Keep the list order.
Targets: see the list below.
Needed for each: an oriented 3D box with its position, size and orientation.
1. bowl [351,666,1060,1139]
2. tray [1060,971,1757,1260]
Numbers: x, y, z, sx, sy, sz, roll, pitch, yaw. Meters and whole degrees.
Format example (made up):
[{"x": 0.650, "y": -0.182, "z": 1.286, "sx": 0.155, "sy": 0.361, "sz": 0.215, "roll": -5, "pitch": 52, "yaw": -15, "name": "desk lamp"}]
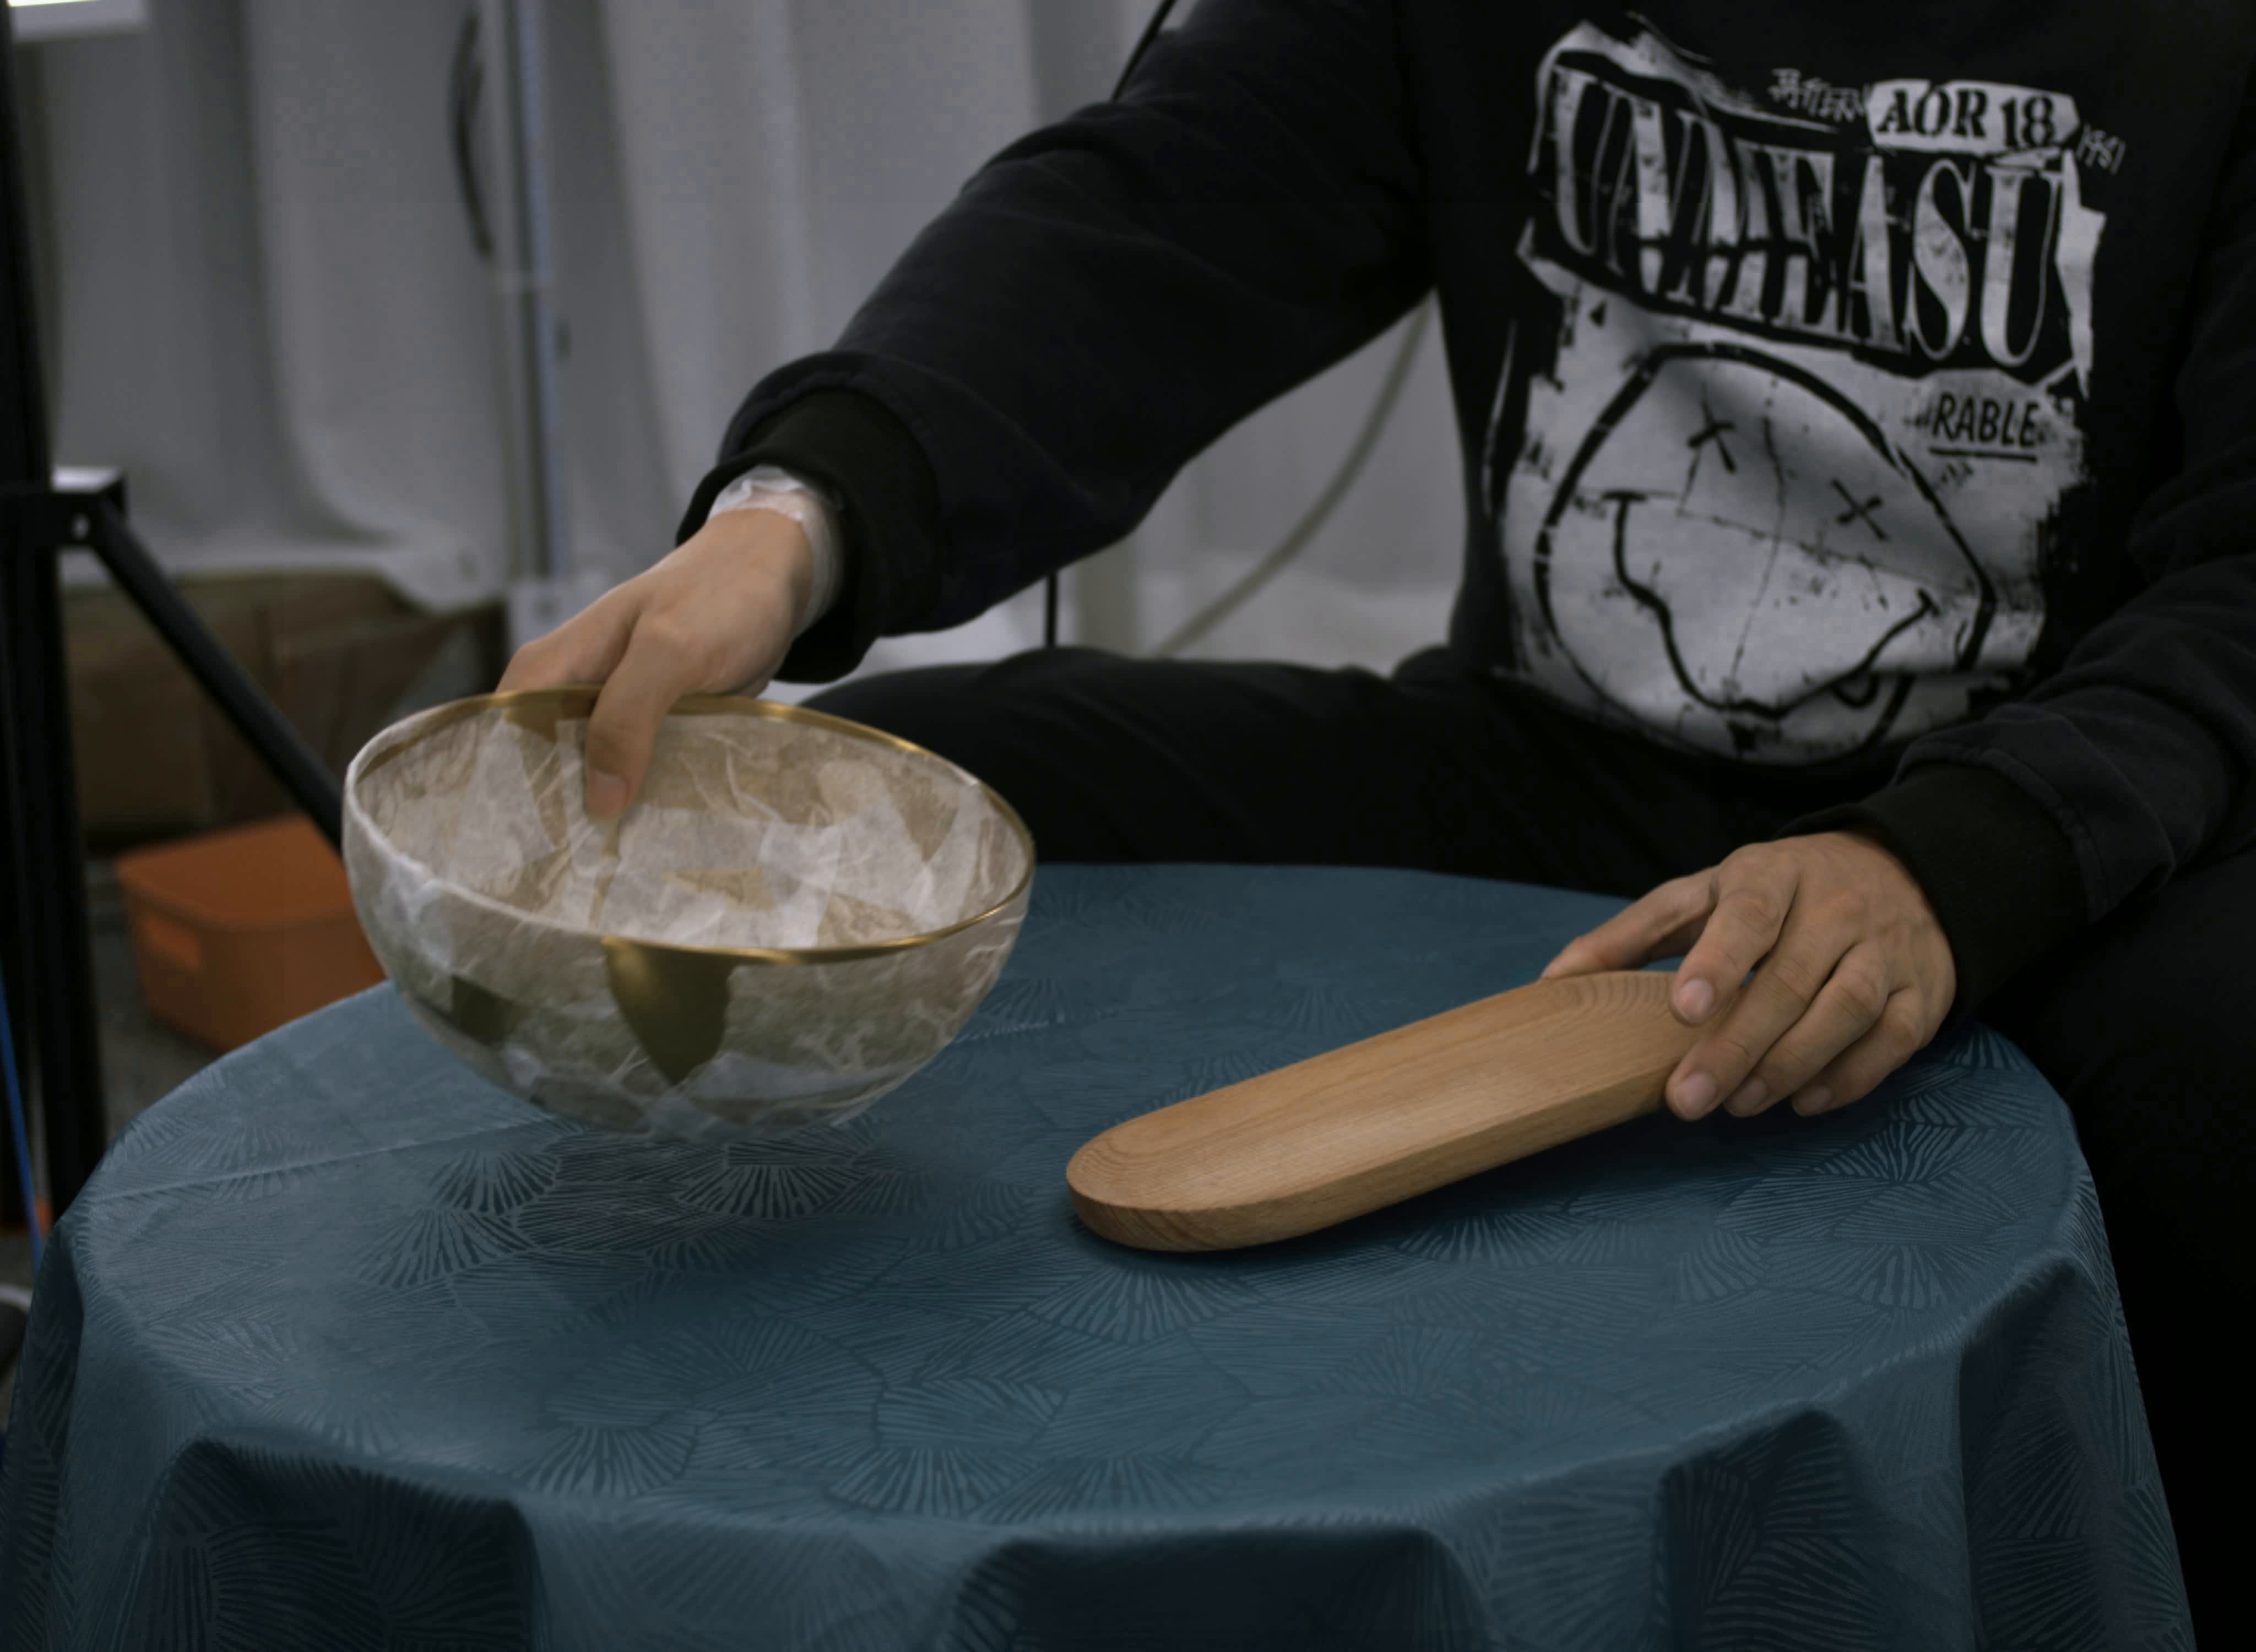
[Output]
[{"x": -0.125, "y": 0.034, "z": 1.563, "sx": 0.213, "sy": 0.094, "sz": 0.216, "roll": 6, "pitch": 20, "yaw": -4, "name": "bowl"}, {"x": 0.085, "y": 0.084, "z": 1.562, "sx": 0.227, "sy": 0.020, "sz": 0.104, "roll": -20, "pitch": 16, "yaw": -27, "name": "tray"}]
